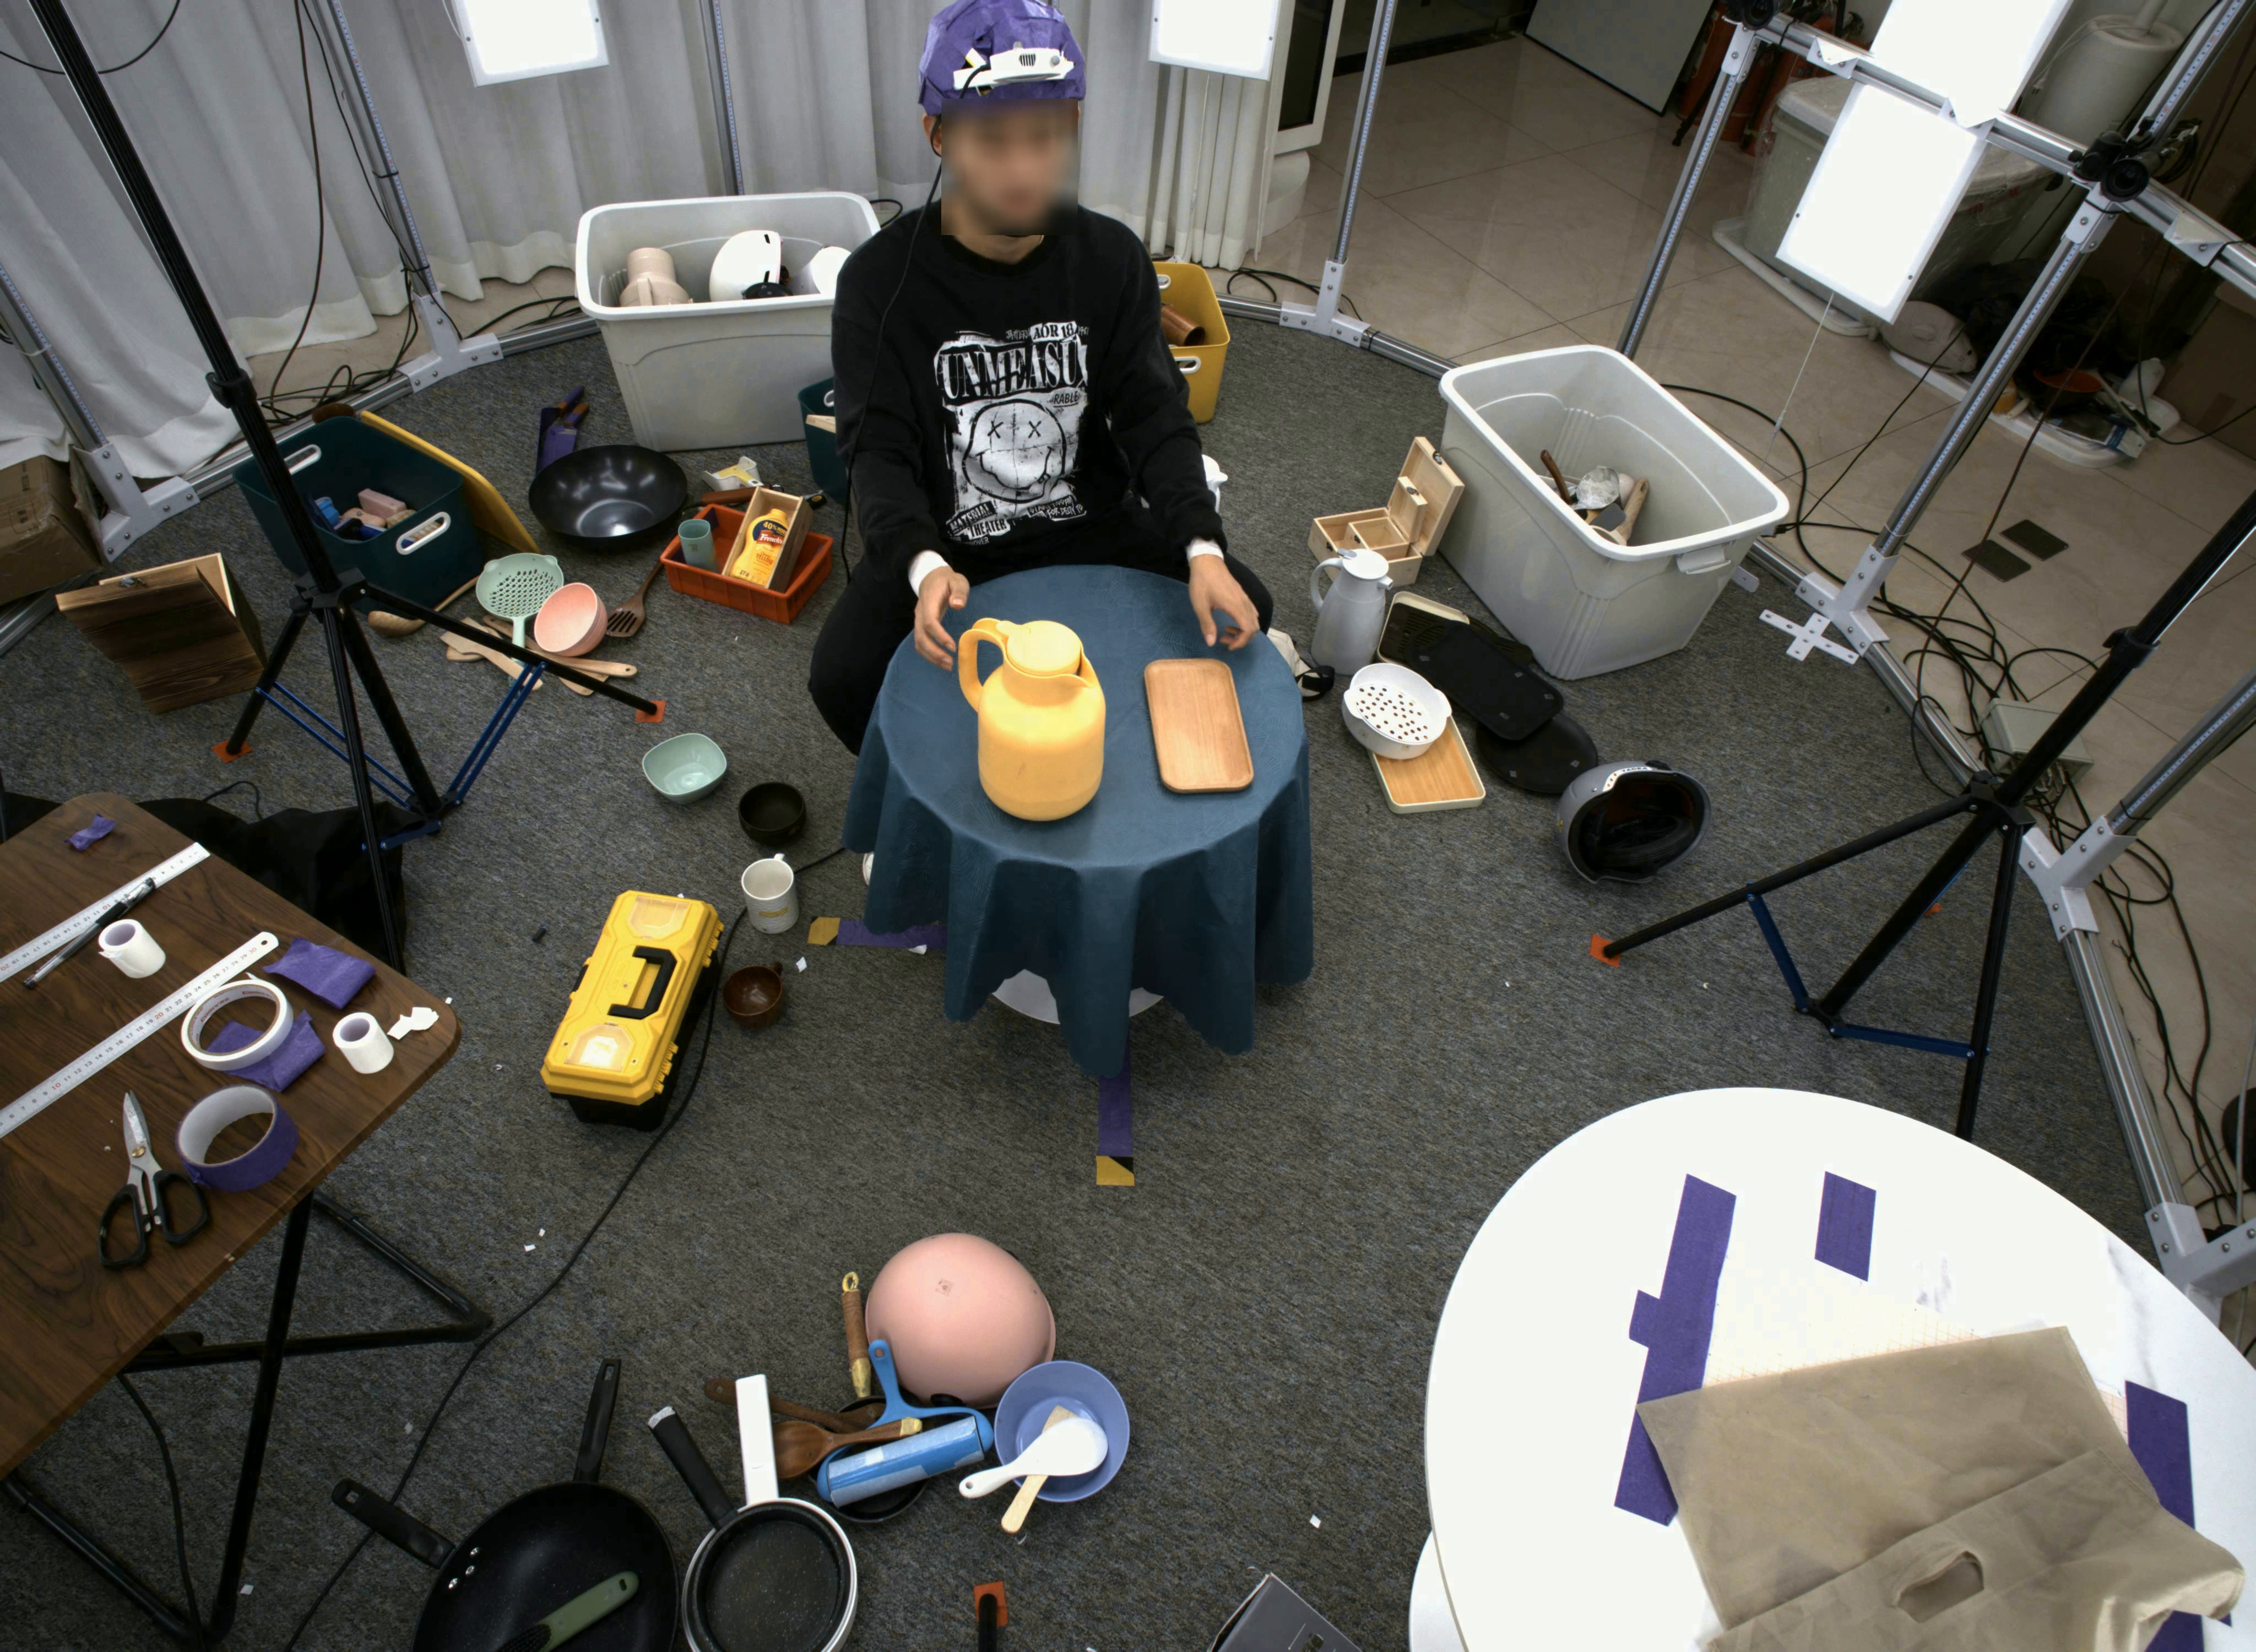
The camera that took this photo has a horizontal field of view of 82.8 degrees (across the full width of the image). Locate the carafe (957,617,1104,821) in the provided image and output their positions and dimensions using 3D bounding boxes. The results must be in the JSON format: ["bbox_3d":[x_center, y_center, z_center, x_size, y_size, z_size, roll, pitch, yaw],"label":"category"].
[{"bbox_3d":[-0.126,-0.147,1.620,0.204,0.254,0.165,31,52,19],"label":"carafe"}]

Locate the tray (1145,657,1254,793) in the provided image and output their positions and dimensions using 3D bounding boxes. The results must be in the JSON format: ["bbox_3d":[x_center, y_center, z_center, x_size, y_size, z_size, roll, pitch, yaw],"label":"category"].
[{"bbox_3d":[0.097,-0.144,1.789,0.130,0.022,0.257,0,49,-7],"label":"tray"}]
